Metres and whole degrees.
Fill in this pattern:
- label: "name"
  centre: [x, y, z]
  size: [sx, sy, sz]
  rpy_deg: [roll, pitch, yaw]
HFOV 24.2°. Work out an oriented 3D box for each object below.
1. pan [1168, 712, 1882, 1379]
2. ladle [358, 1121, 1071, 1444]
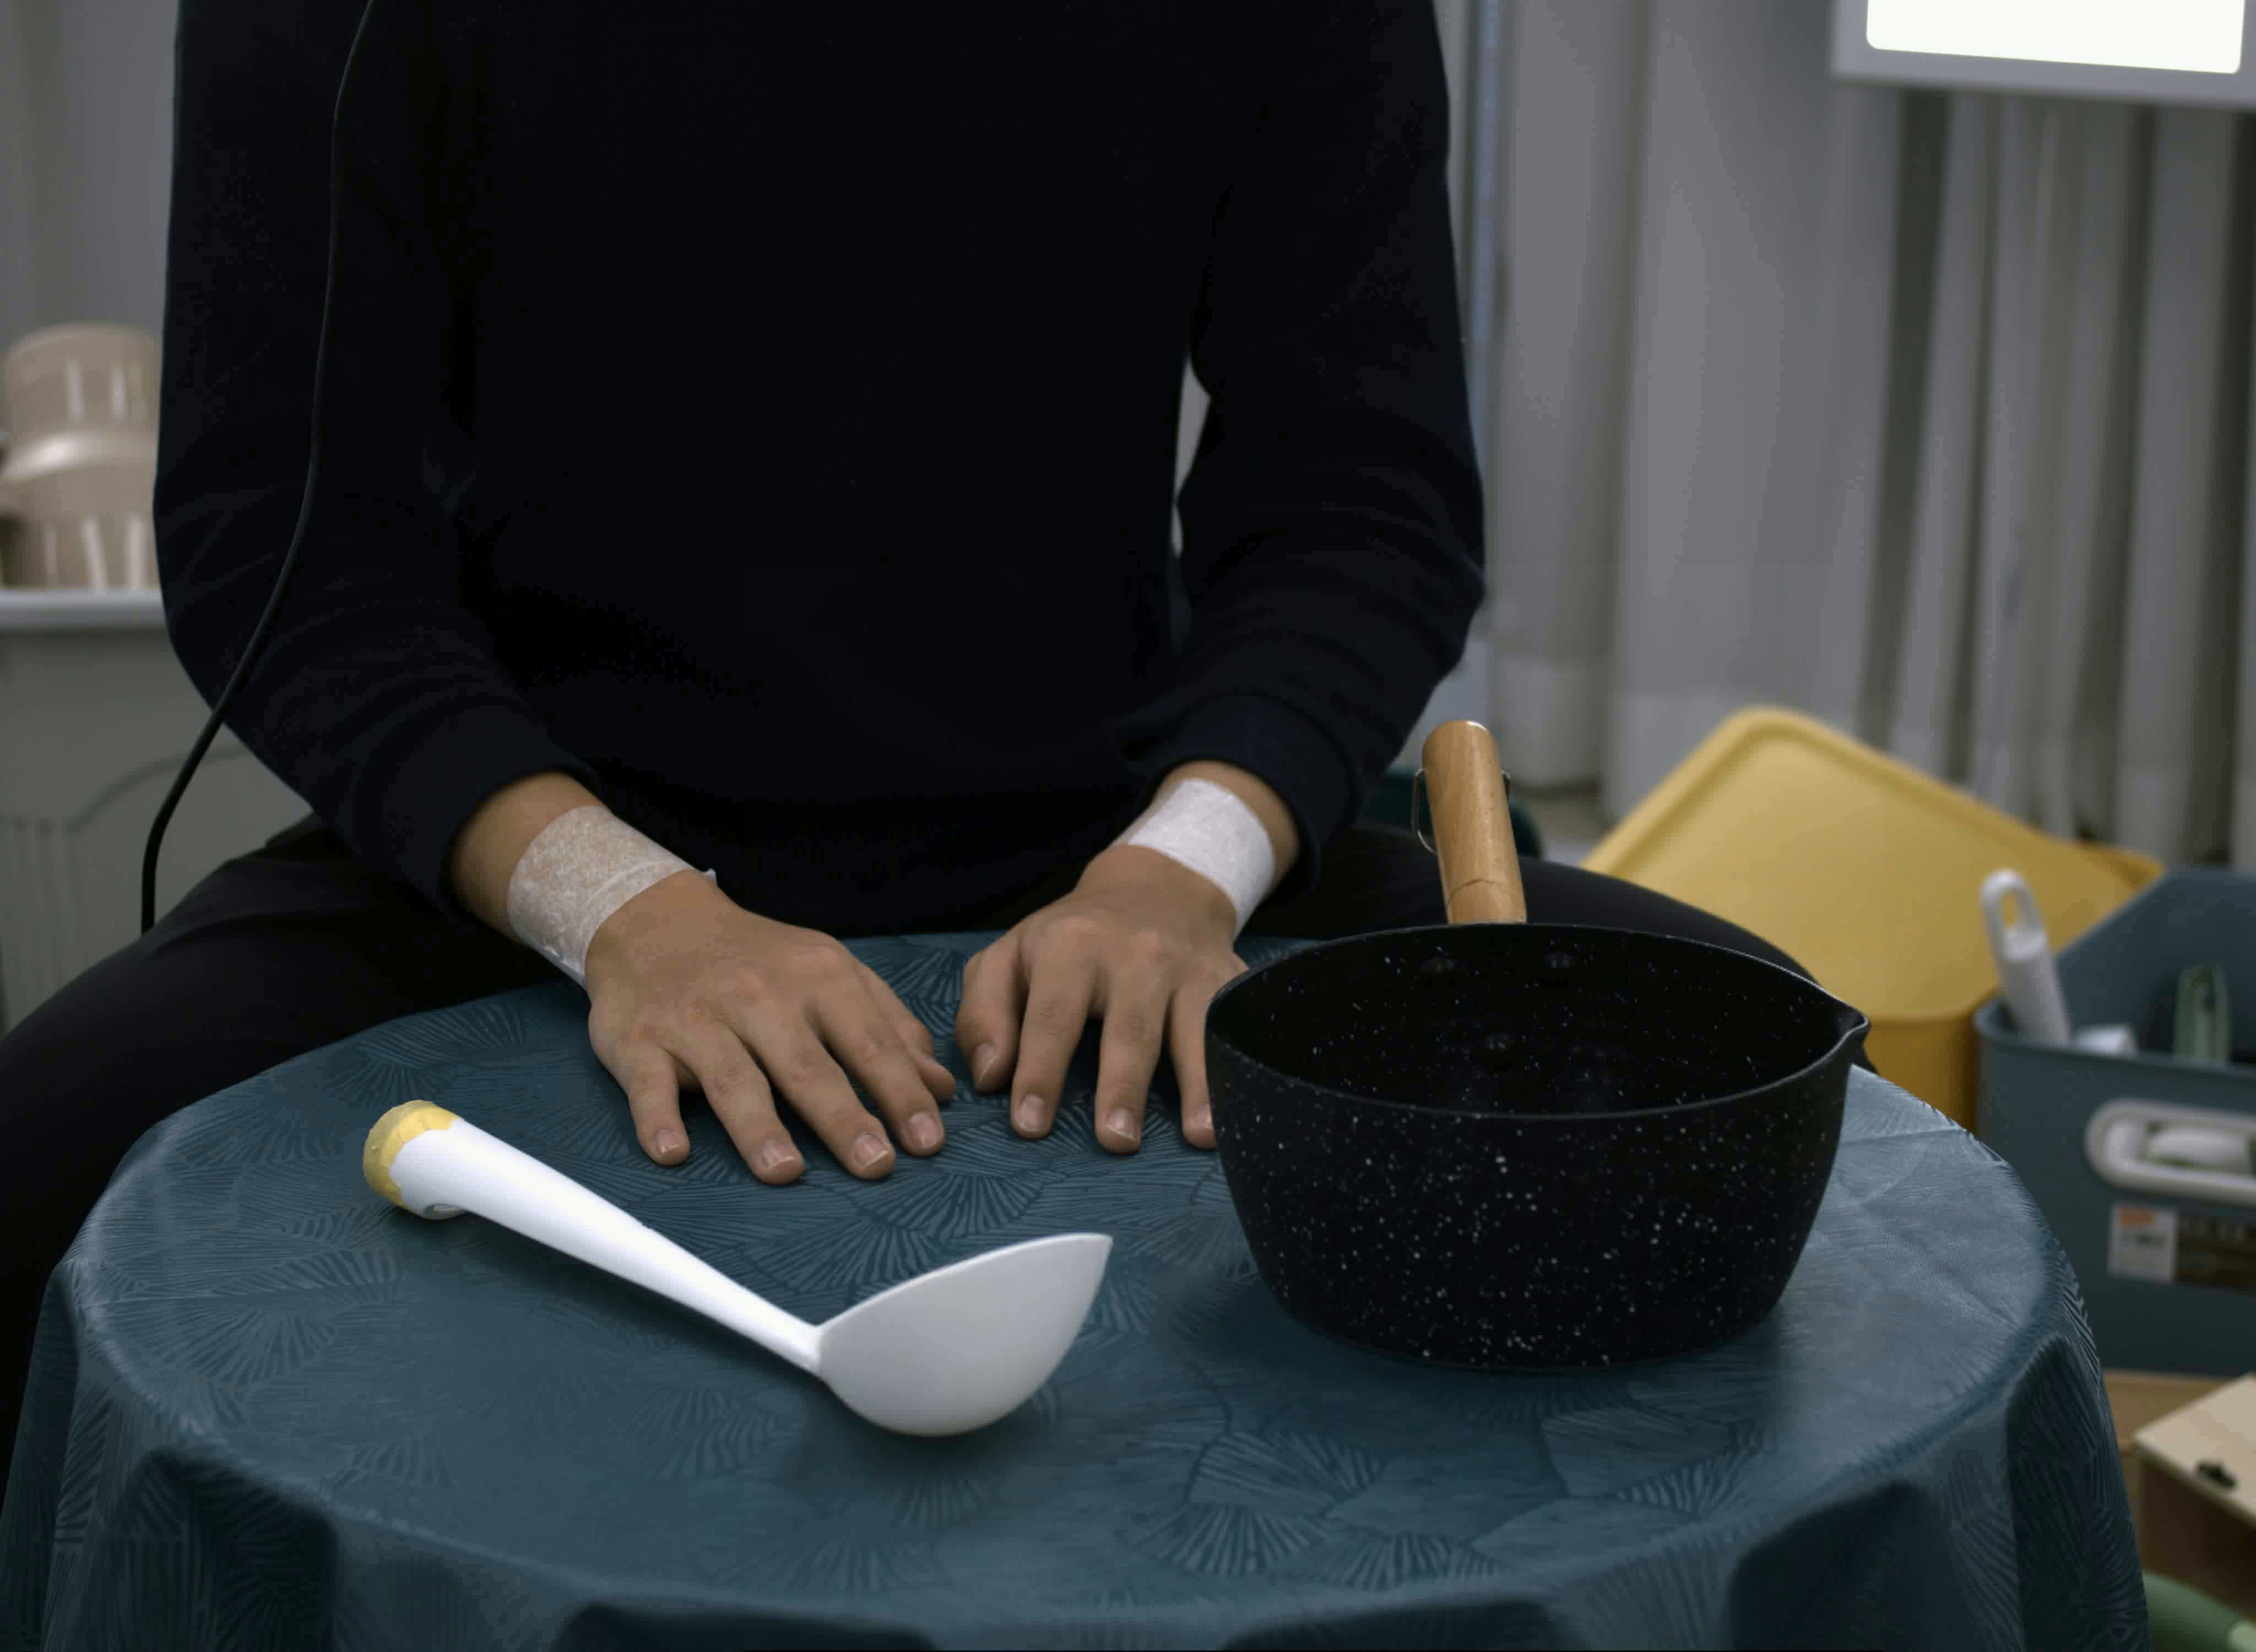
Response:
- label: "pan"
  centre: [0.112, 0.061, 1.607]
  size: [0.207, 0.109, 0.340]
  rpy_deg: [-1, 17, -2]
- label: "ladle"
  centre: [-0.129, 0.114, 1.493]
  size: [0.090, 0.070, 0.289]
  rpy_deg: [-18, 23, -38]
